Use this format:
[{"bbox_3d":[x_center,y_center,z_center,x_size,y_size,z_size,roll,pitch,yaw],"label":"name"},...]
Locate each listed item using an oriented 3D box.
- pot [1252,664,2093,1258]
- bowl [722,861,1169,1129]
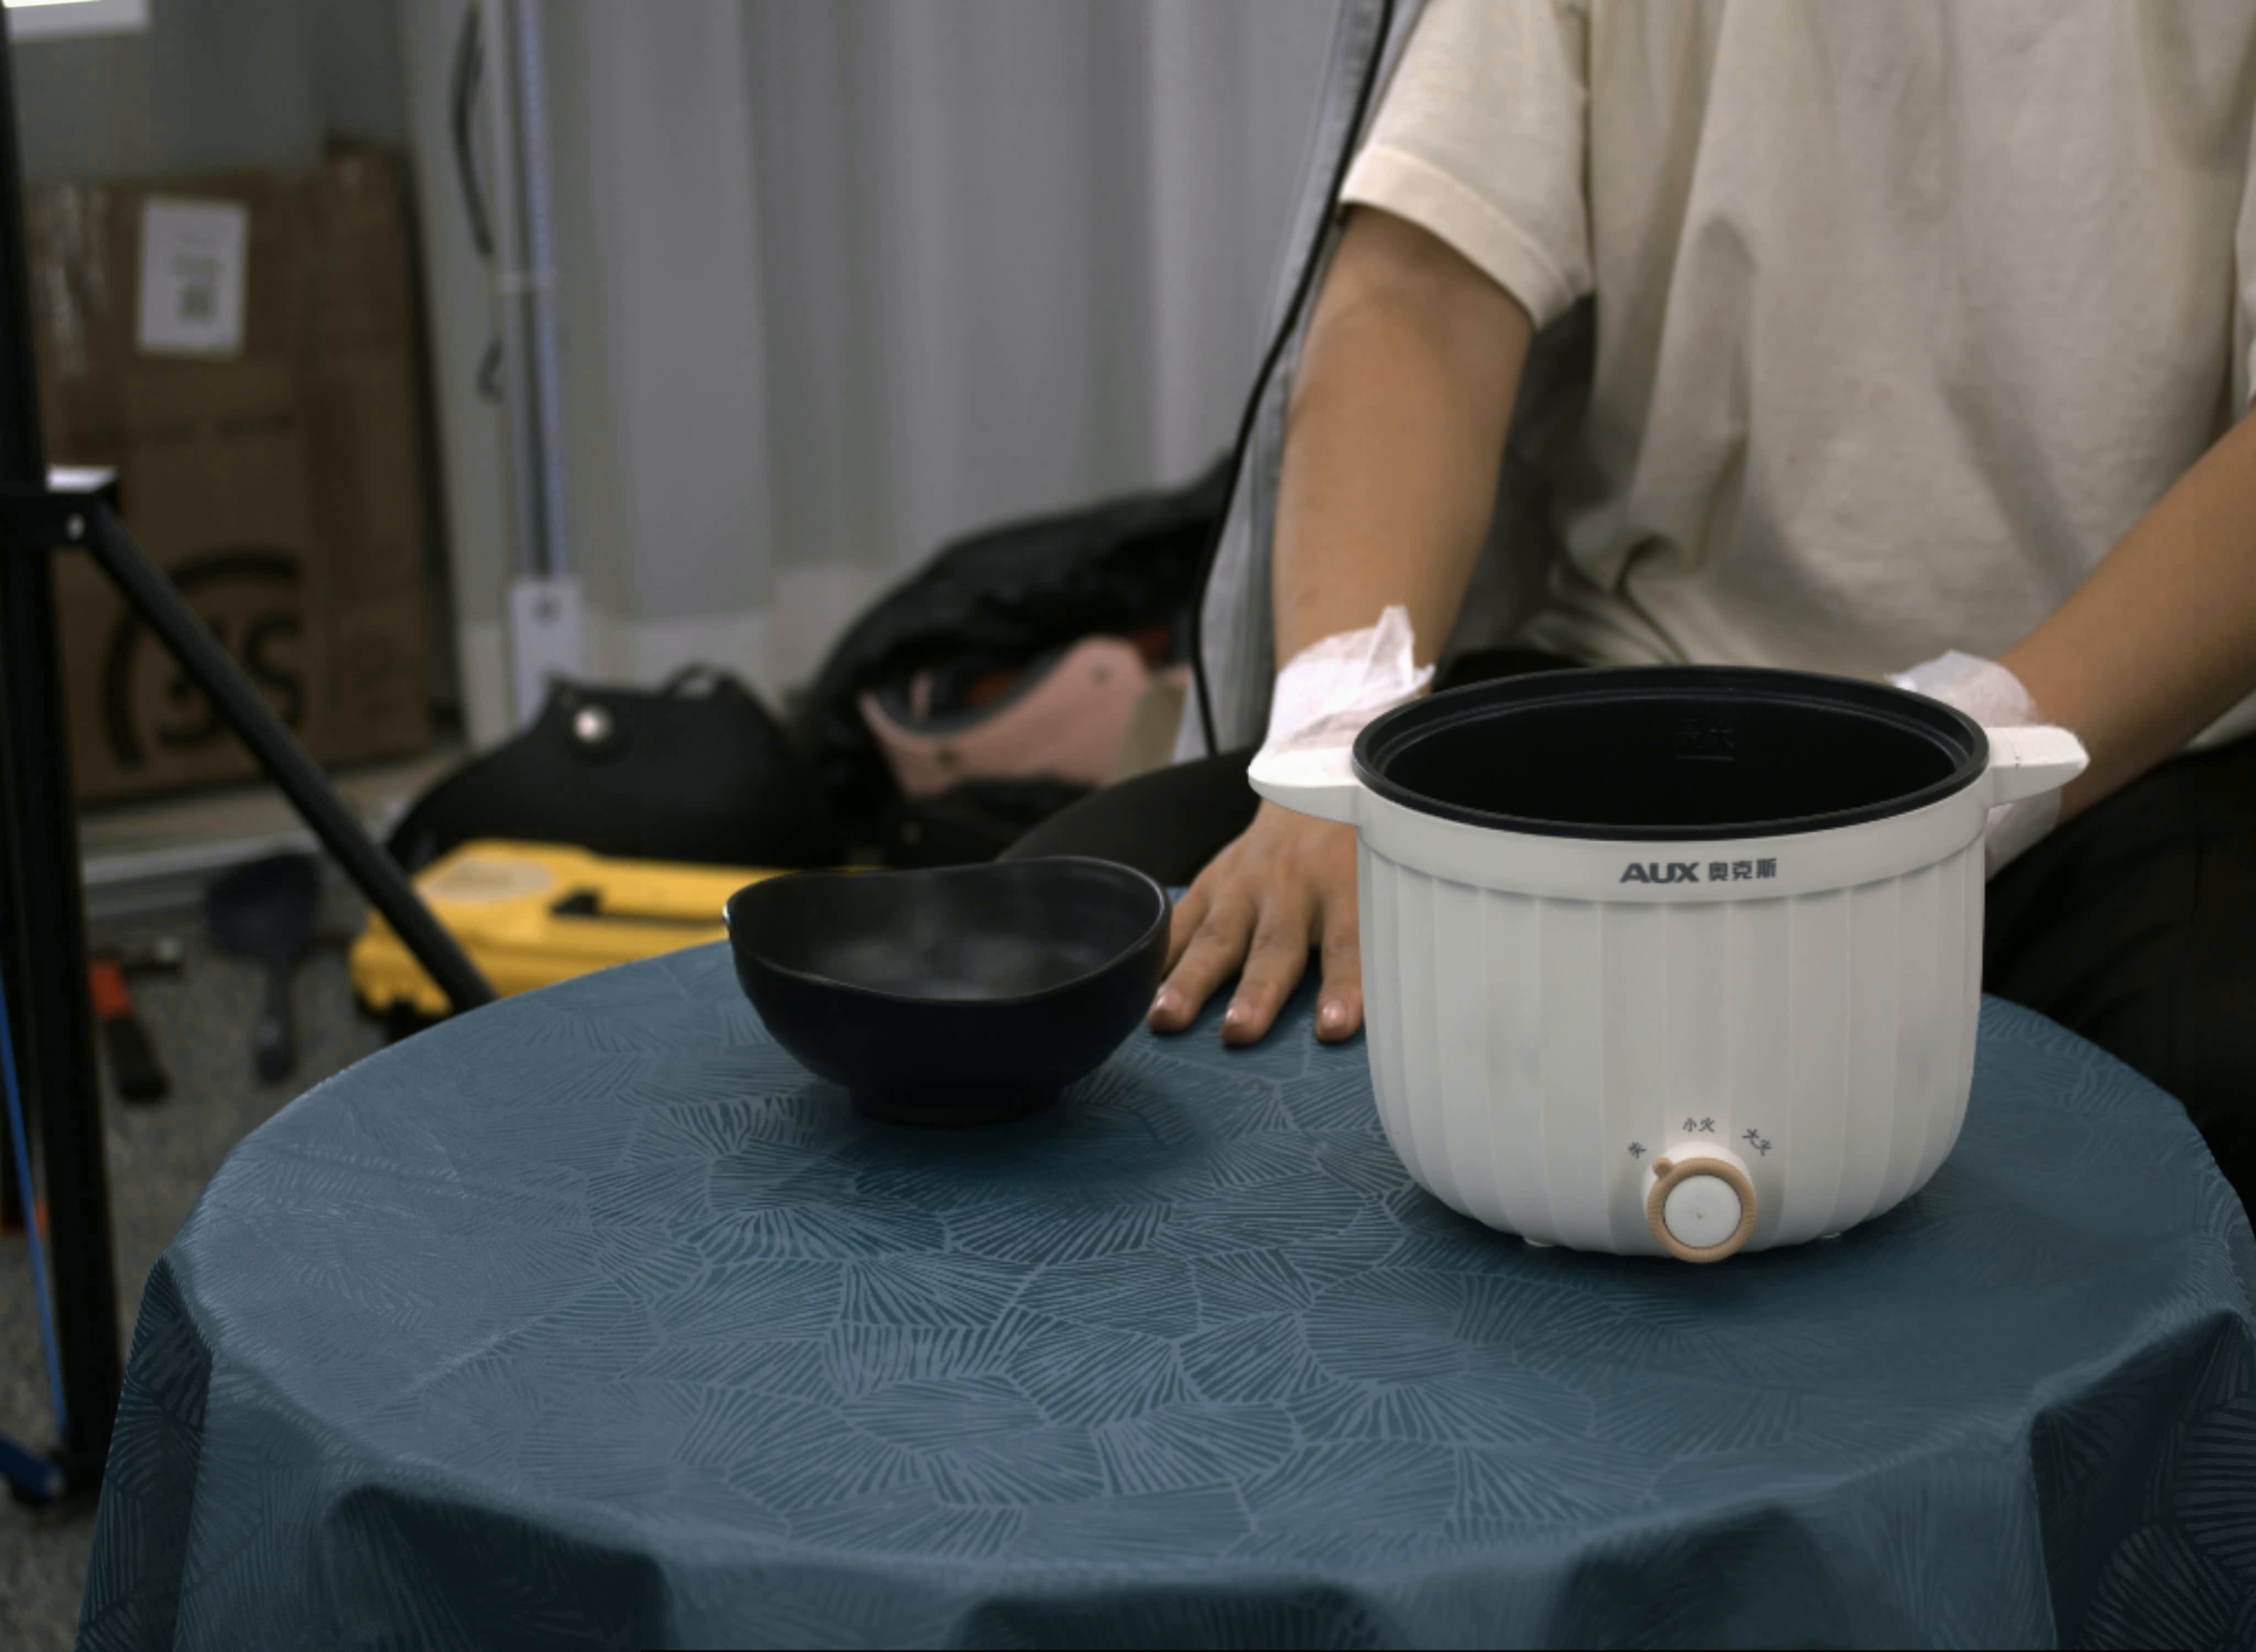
[{"bbox_3d":[0.157,0.041,1.513,0.239,0.143,0.191,-3,12,2],"label":"pot"},{"bbox_3d":[-0.056,0.054,1.641,0.136,0.067,0.172,-4,15,-9],"label":"bowl"}]
